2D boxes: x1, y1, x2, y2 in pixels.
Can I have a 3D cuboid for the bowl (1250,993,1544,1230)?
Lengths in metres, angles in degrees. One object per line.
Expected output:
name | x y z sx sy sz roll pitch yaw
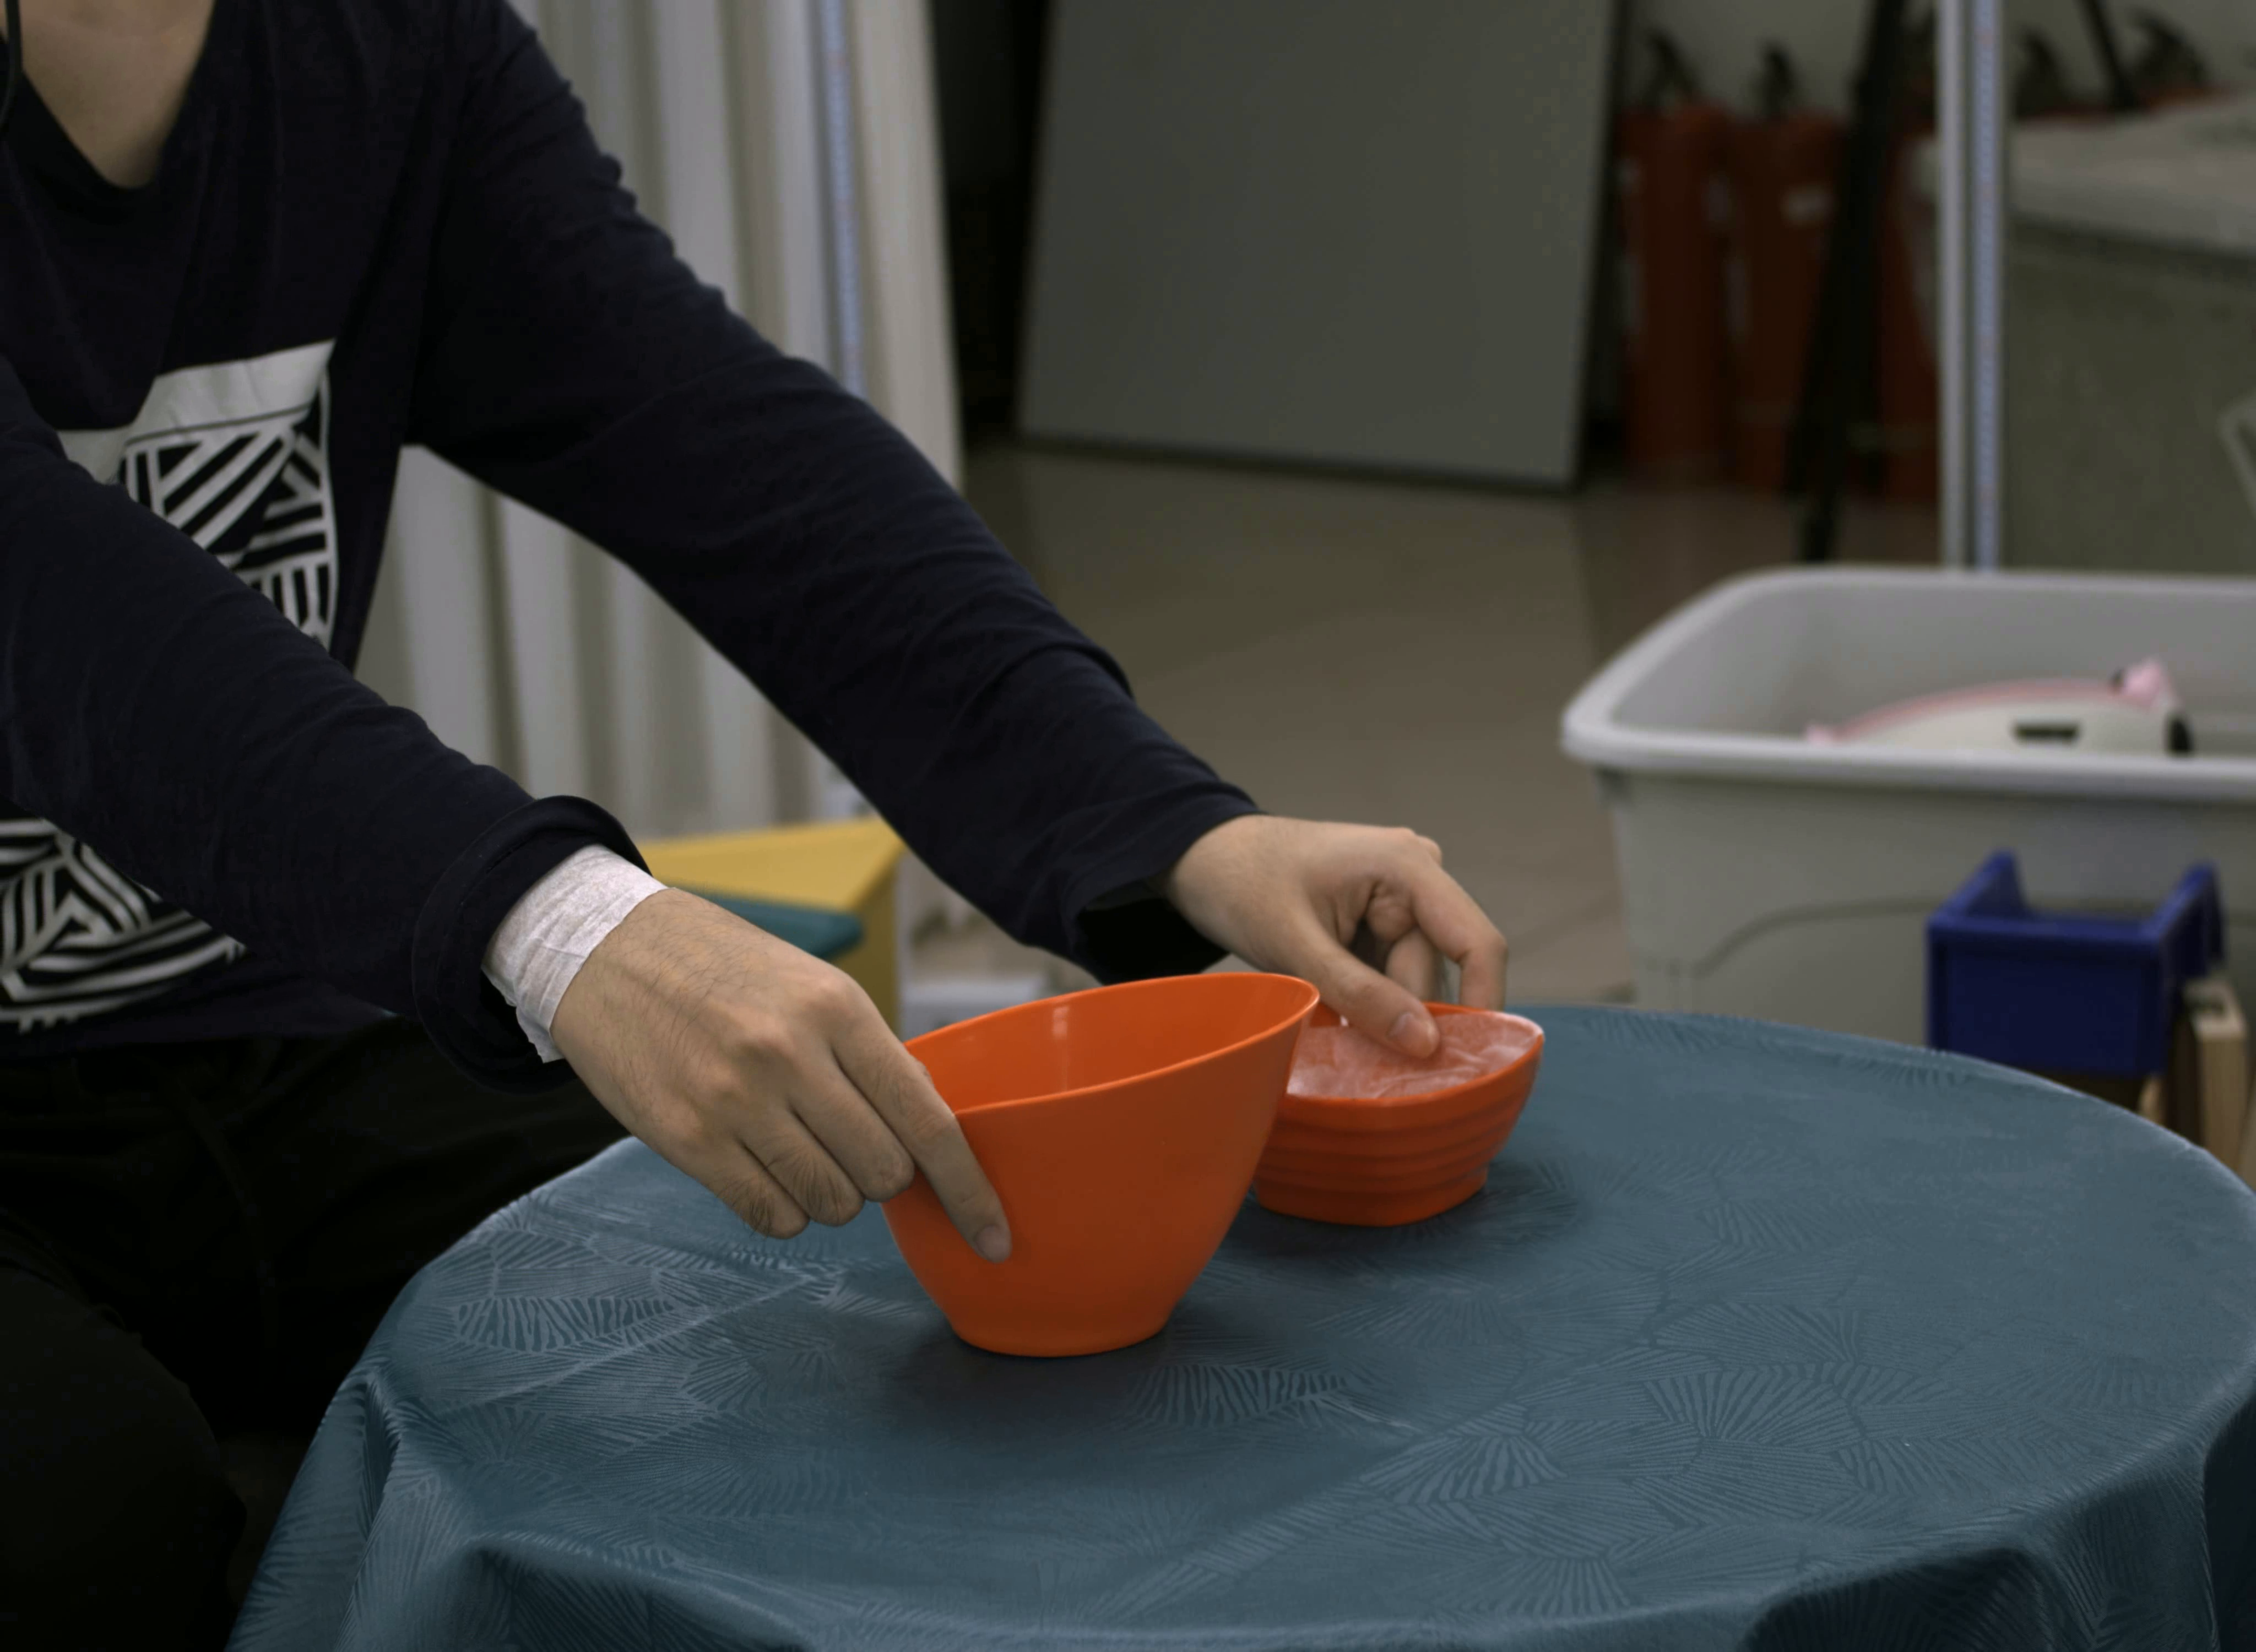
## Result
bowl | 0.078 0.095 1.749 0.117 0.052 0.119 -4 15 0

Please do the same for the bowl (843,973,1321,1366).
bowl | -0.012 0.104 1.631 0.146 0.106 0.148 -4 13 0
